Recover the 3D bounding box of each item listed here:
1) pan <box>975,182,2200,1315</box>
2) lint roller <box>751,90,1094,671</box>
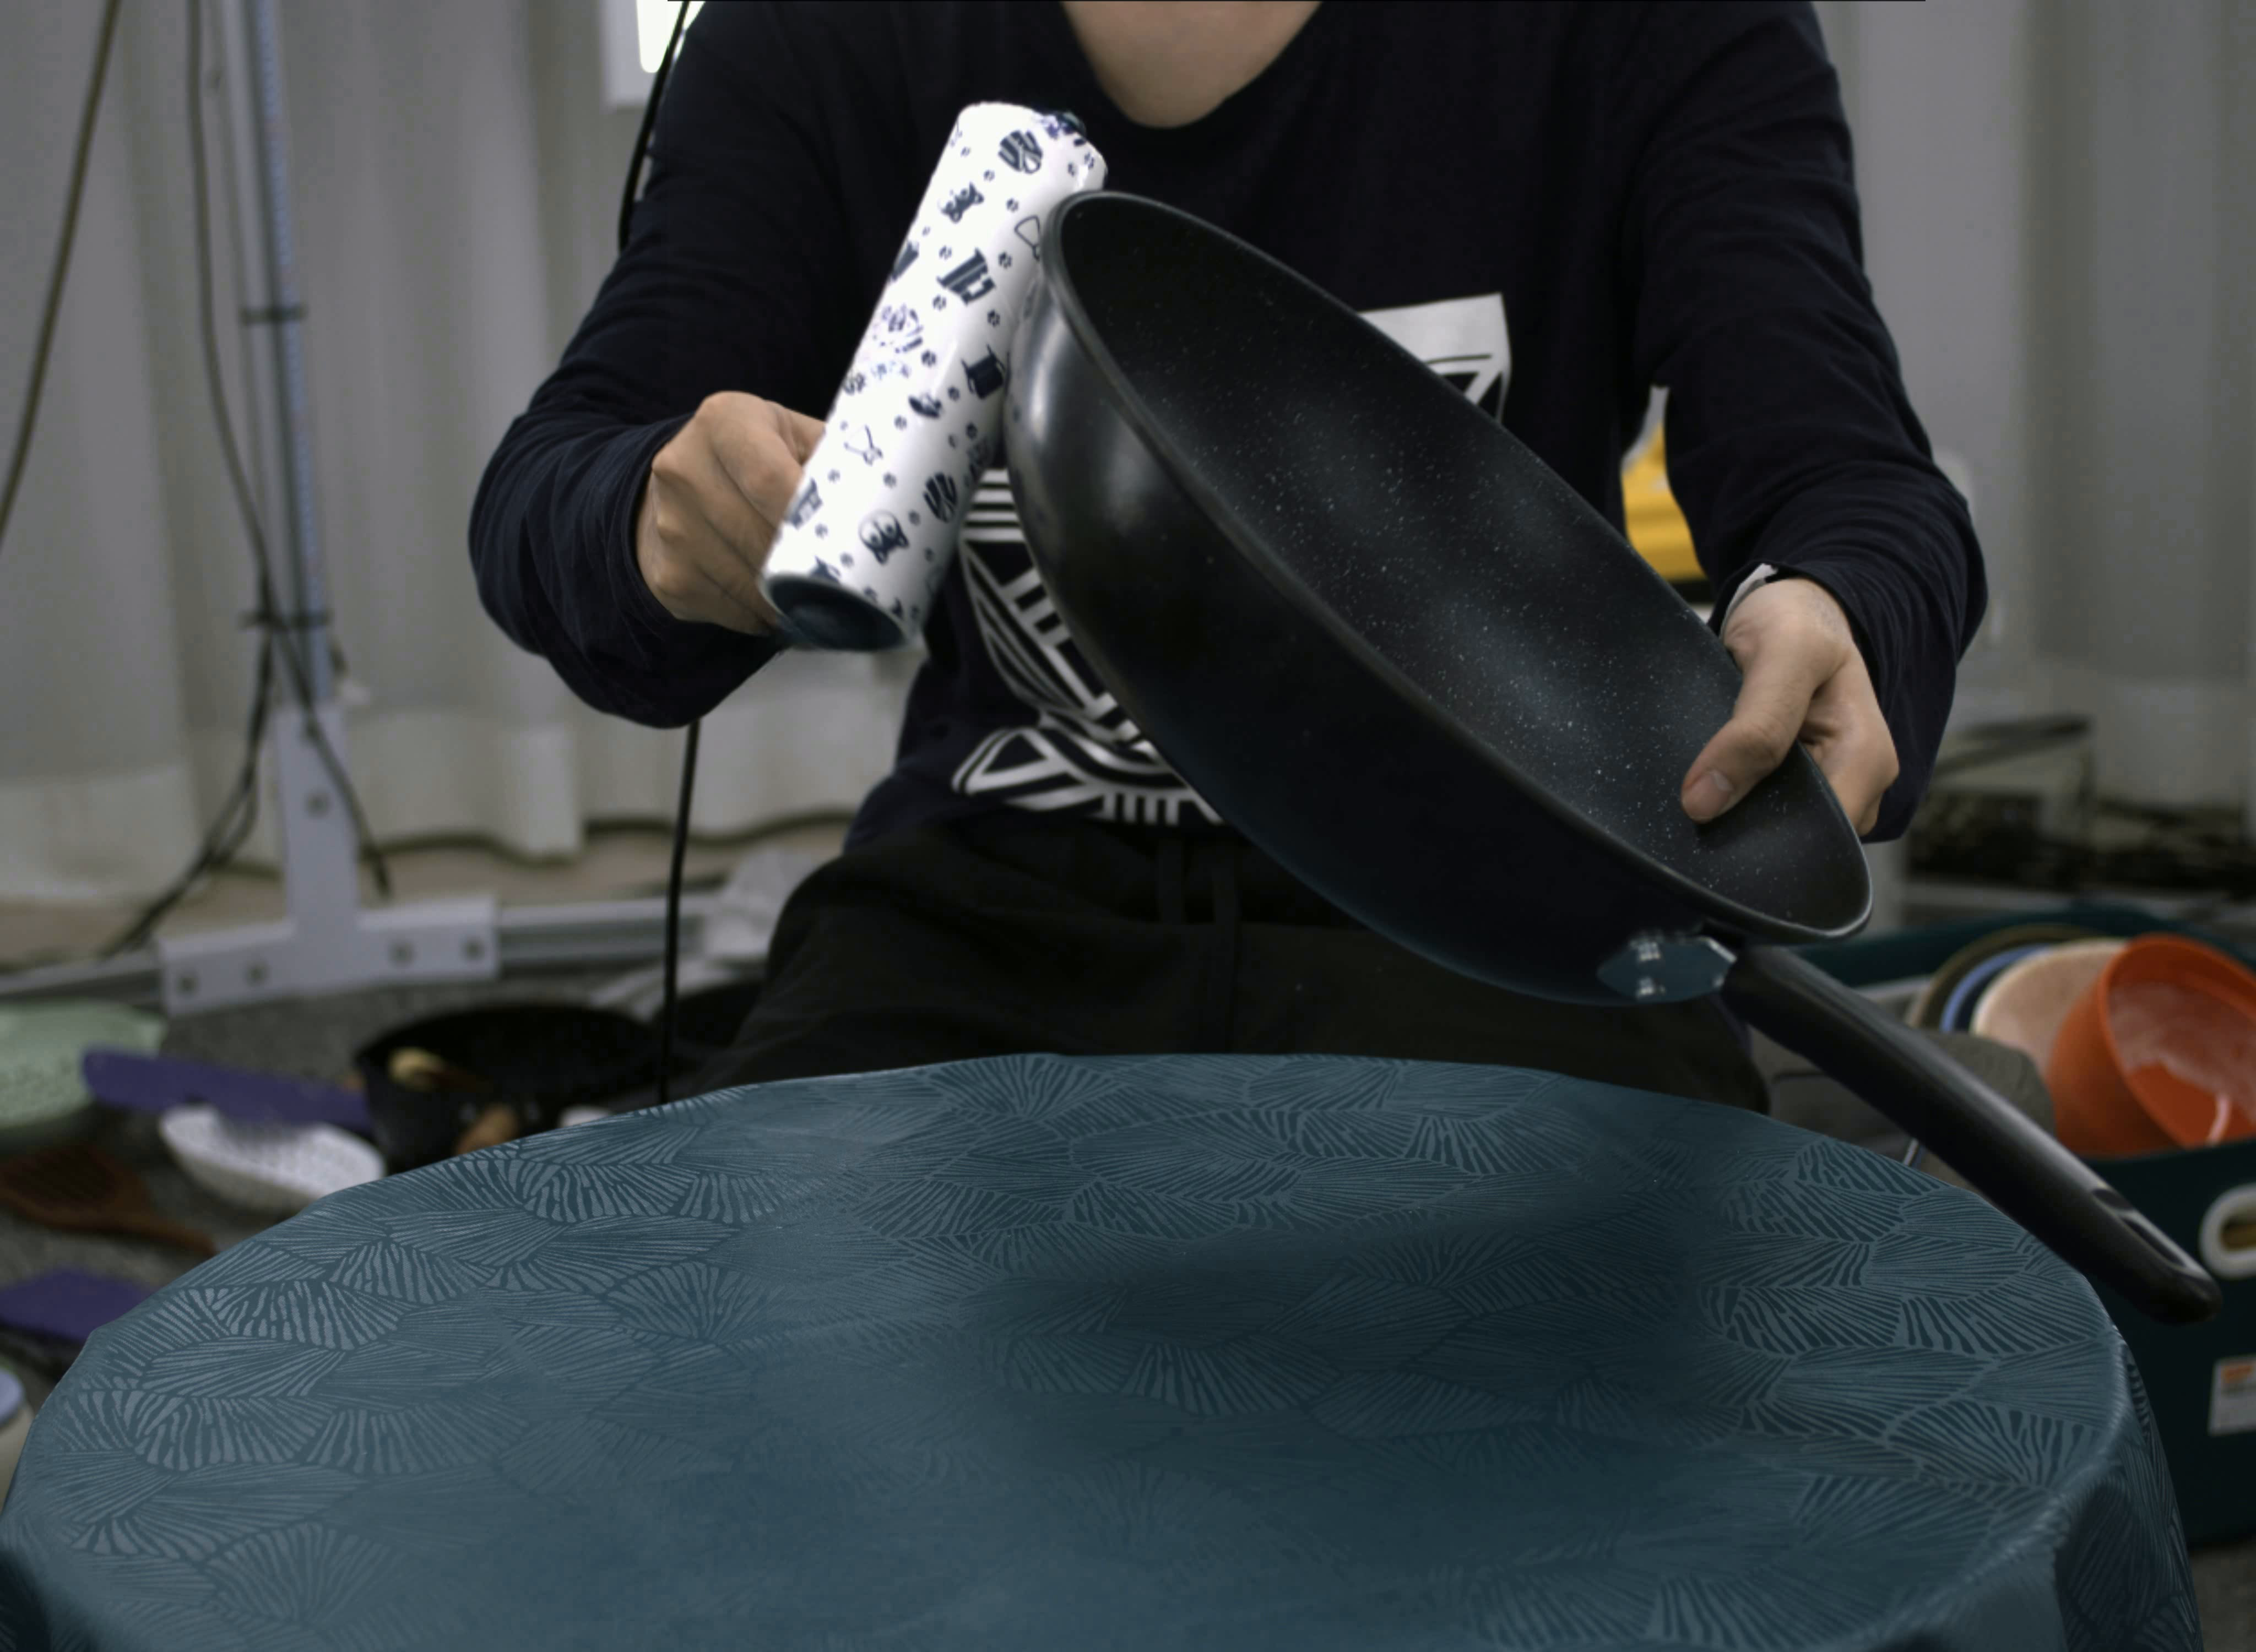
[{"bbox_3d":[0.115,-0.004,1.521,0.307,0.111,0.483,17,29,-50],"label":"pan"},{"bbox_3d":[-0.087,-0.106,1.679,0.050,0.178,0.246,25,-21,-10],"label":"lint roller"}]
